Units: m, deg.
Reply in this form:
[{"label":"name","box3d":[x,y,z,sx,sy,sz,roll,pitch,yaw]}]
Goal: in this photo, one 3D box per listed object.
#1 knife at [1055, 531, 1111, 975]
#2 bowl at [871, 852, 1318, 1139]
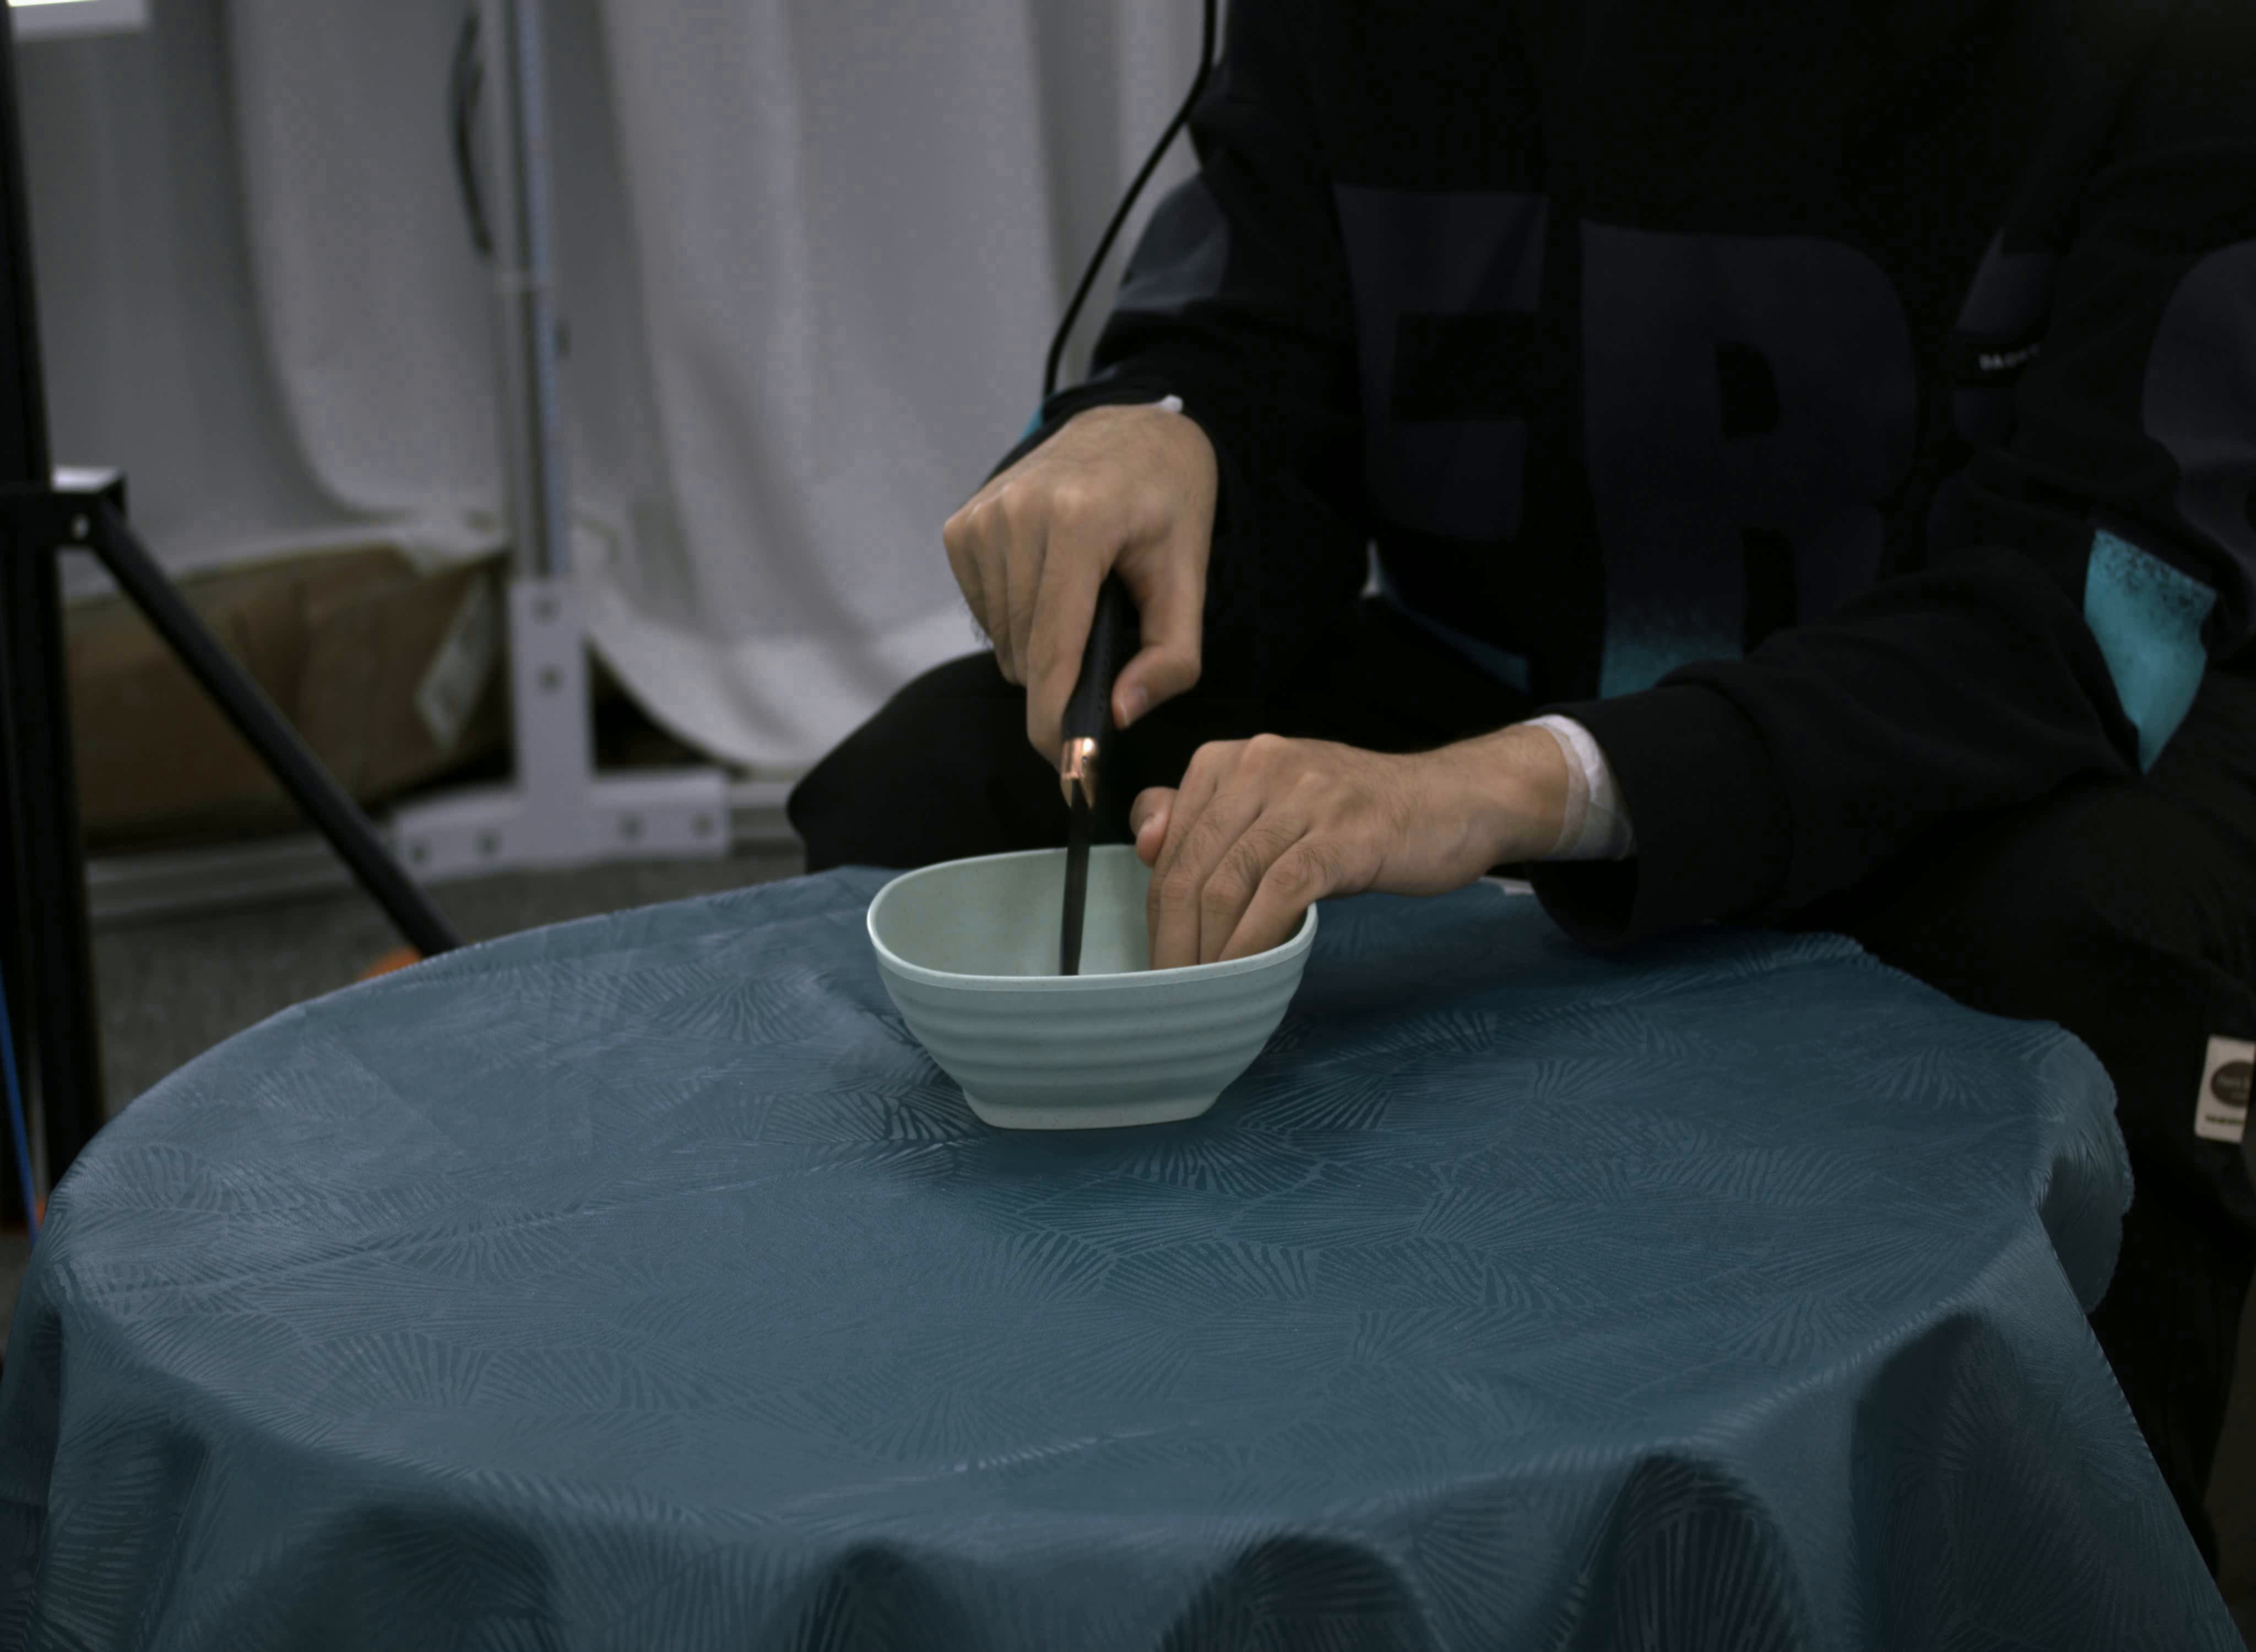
[{"label":"knife","box3d":[-0.015,-0.006,1.689,0.017,0.026,0.228,-6,49,9]},{"label":"bowl","box3d":[-0.009,0.056,1.647,0.151,0.058,0.152,-4,15,0]}]
